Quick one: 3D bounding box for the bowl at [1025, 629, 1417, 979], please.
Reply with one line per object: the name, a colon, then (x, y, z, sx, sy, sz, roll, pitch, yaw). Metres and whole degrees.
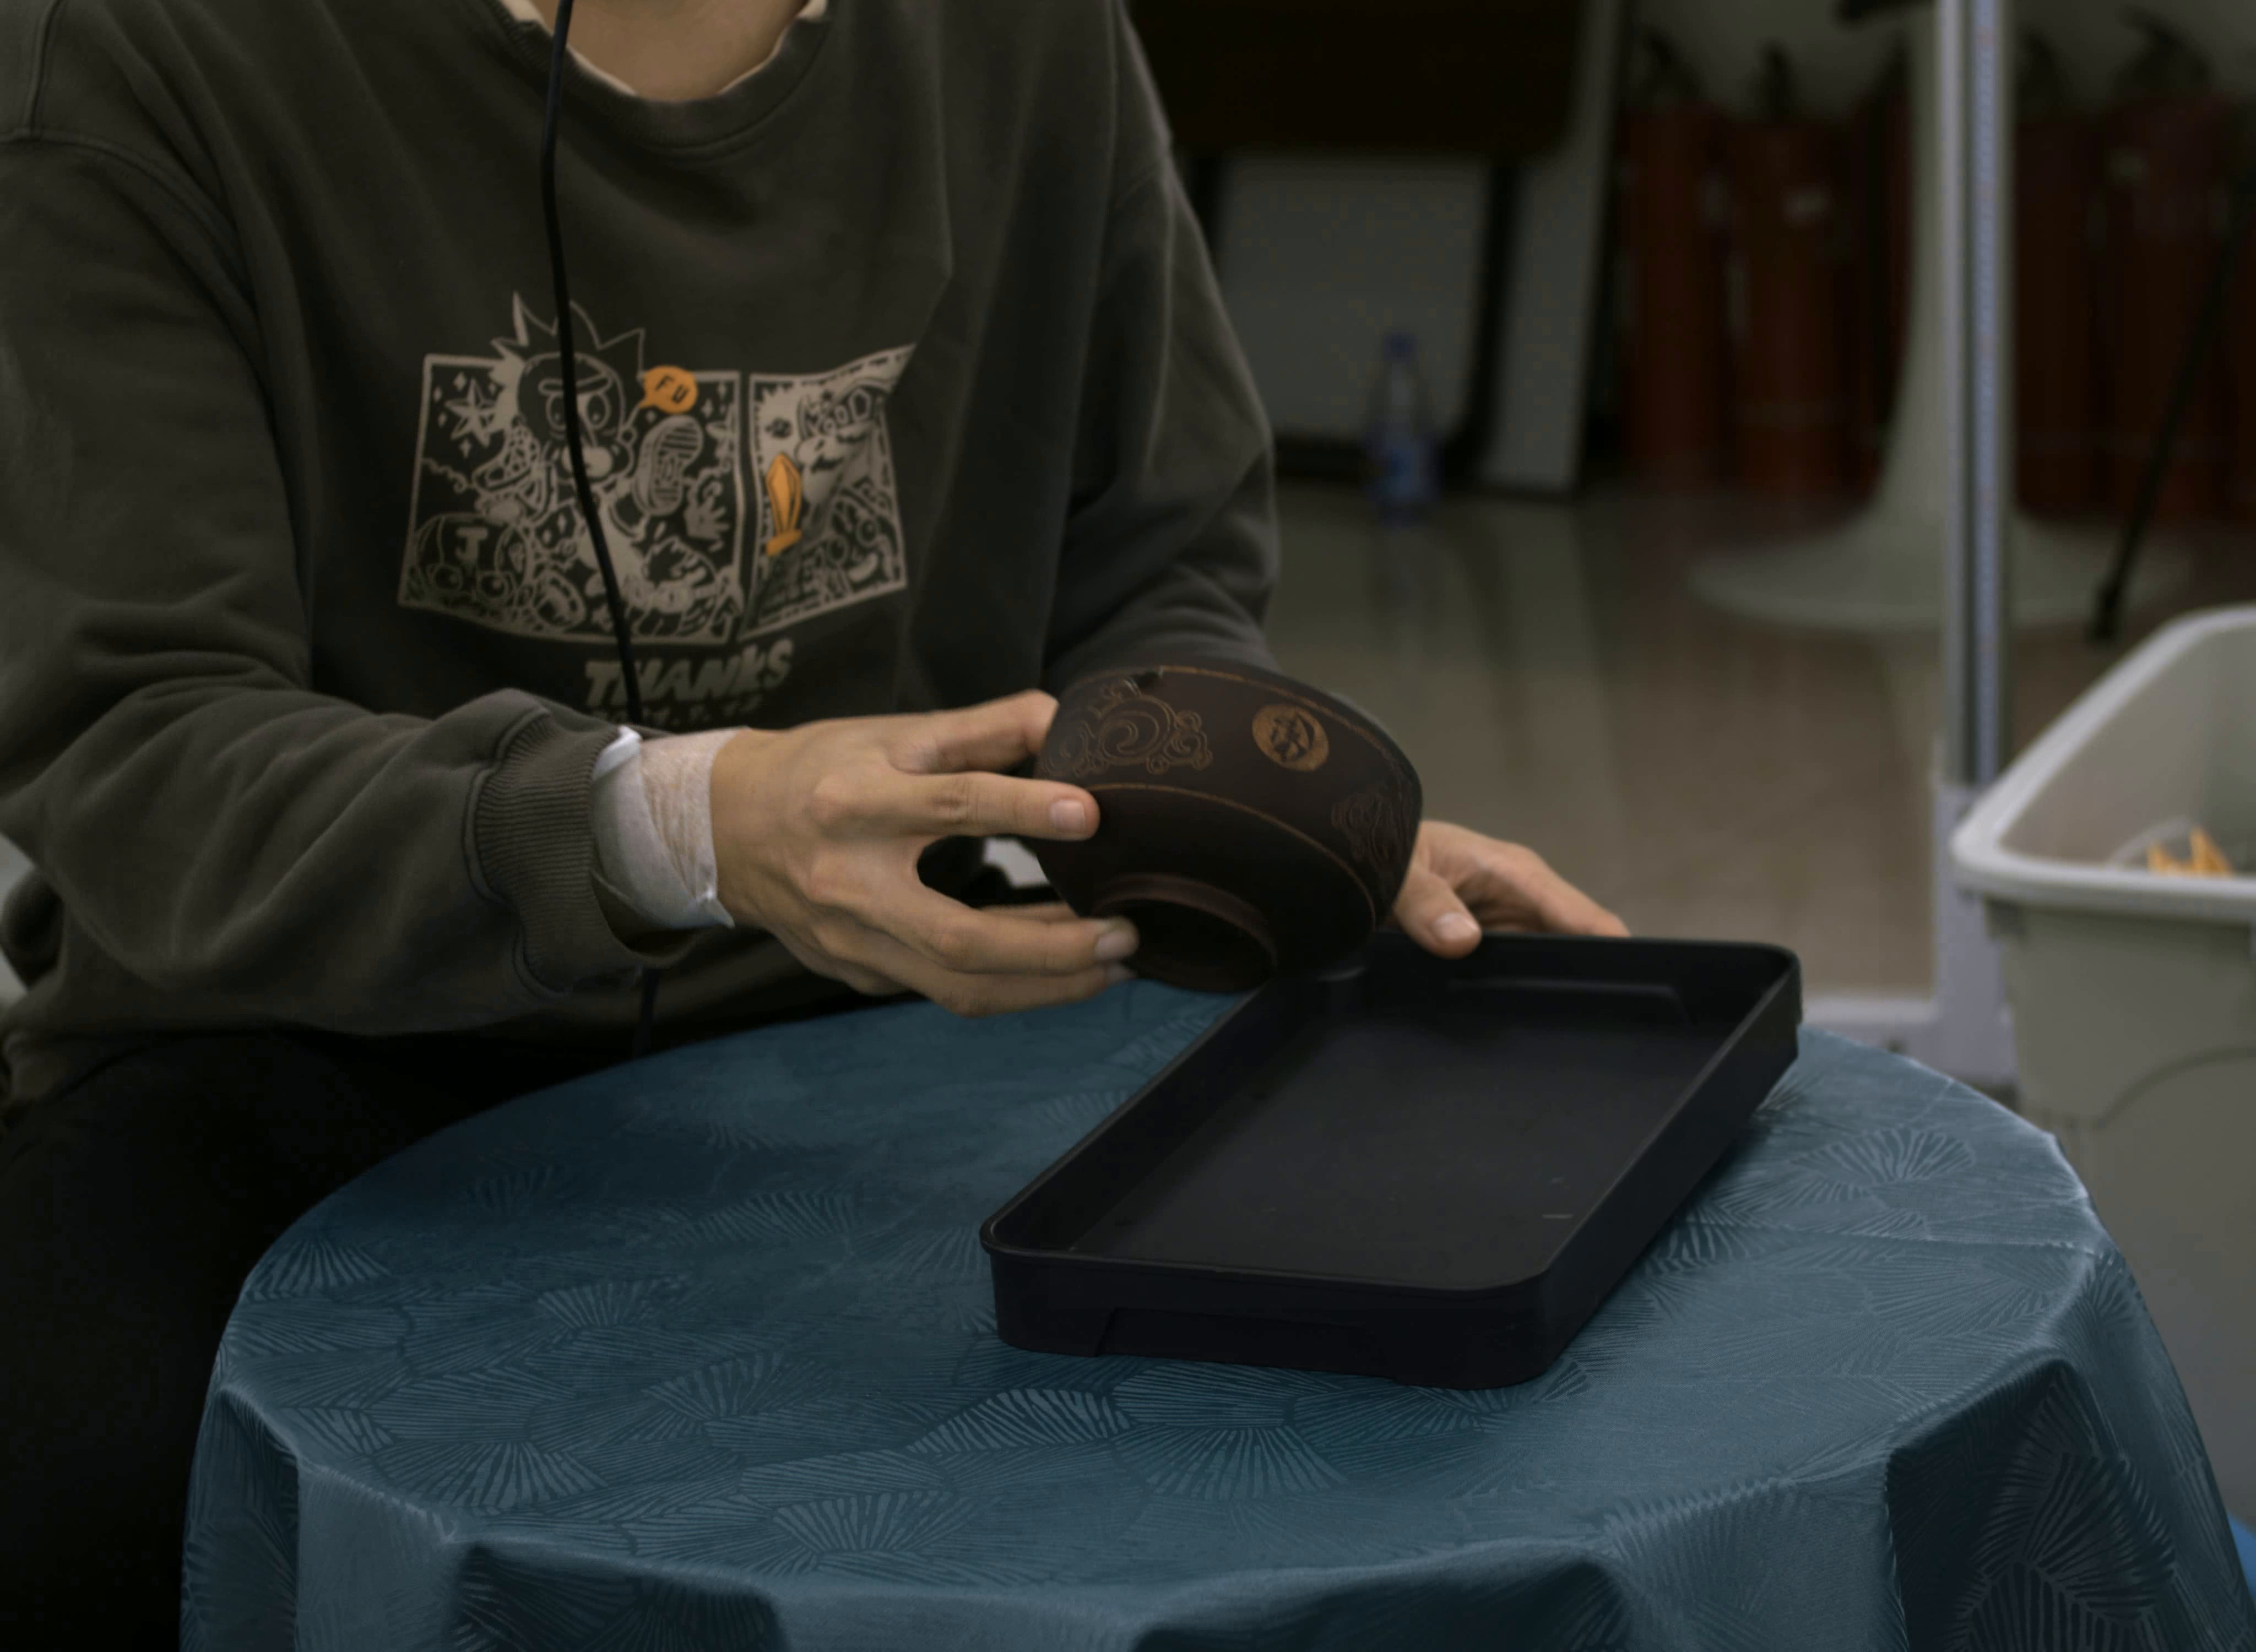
bowl: (0.024, 0.002, 1.608, 0.117, 0.070, 0.118, 12, -29, 6)

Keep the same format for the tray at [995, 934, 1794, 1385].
tray: (0.094, 0.101, 1.731, 0.184, 0.037, 0.315, 0, 17, 22)
